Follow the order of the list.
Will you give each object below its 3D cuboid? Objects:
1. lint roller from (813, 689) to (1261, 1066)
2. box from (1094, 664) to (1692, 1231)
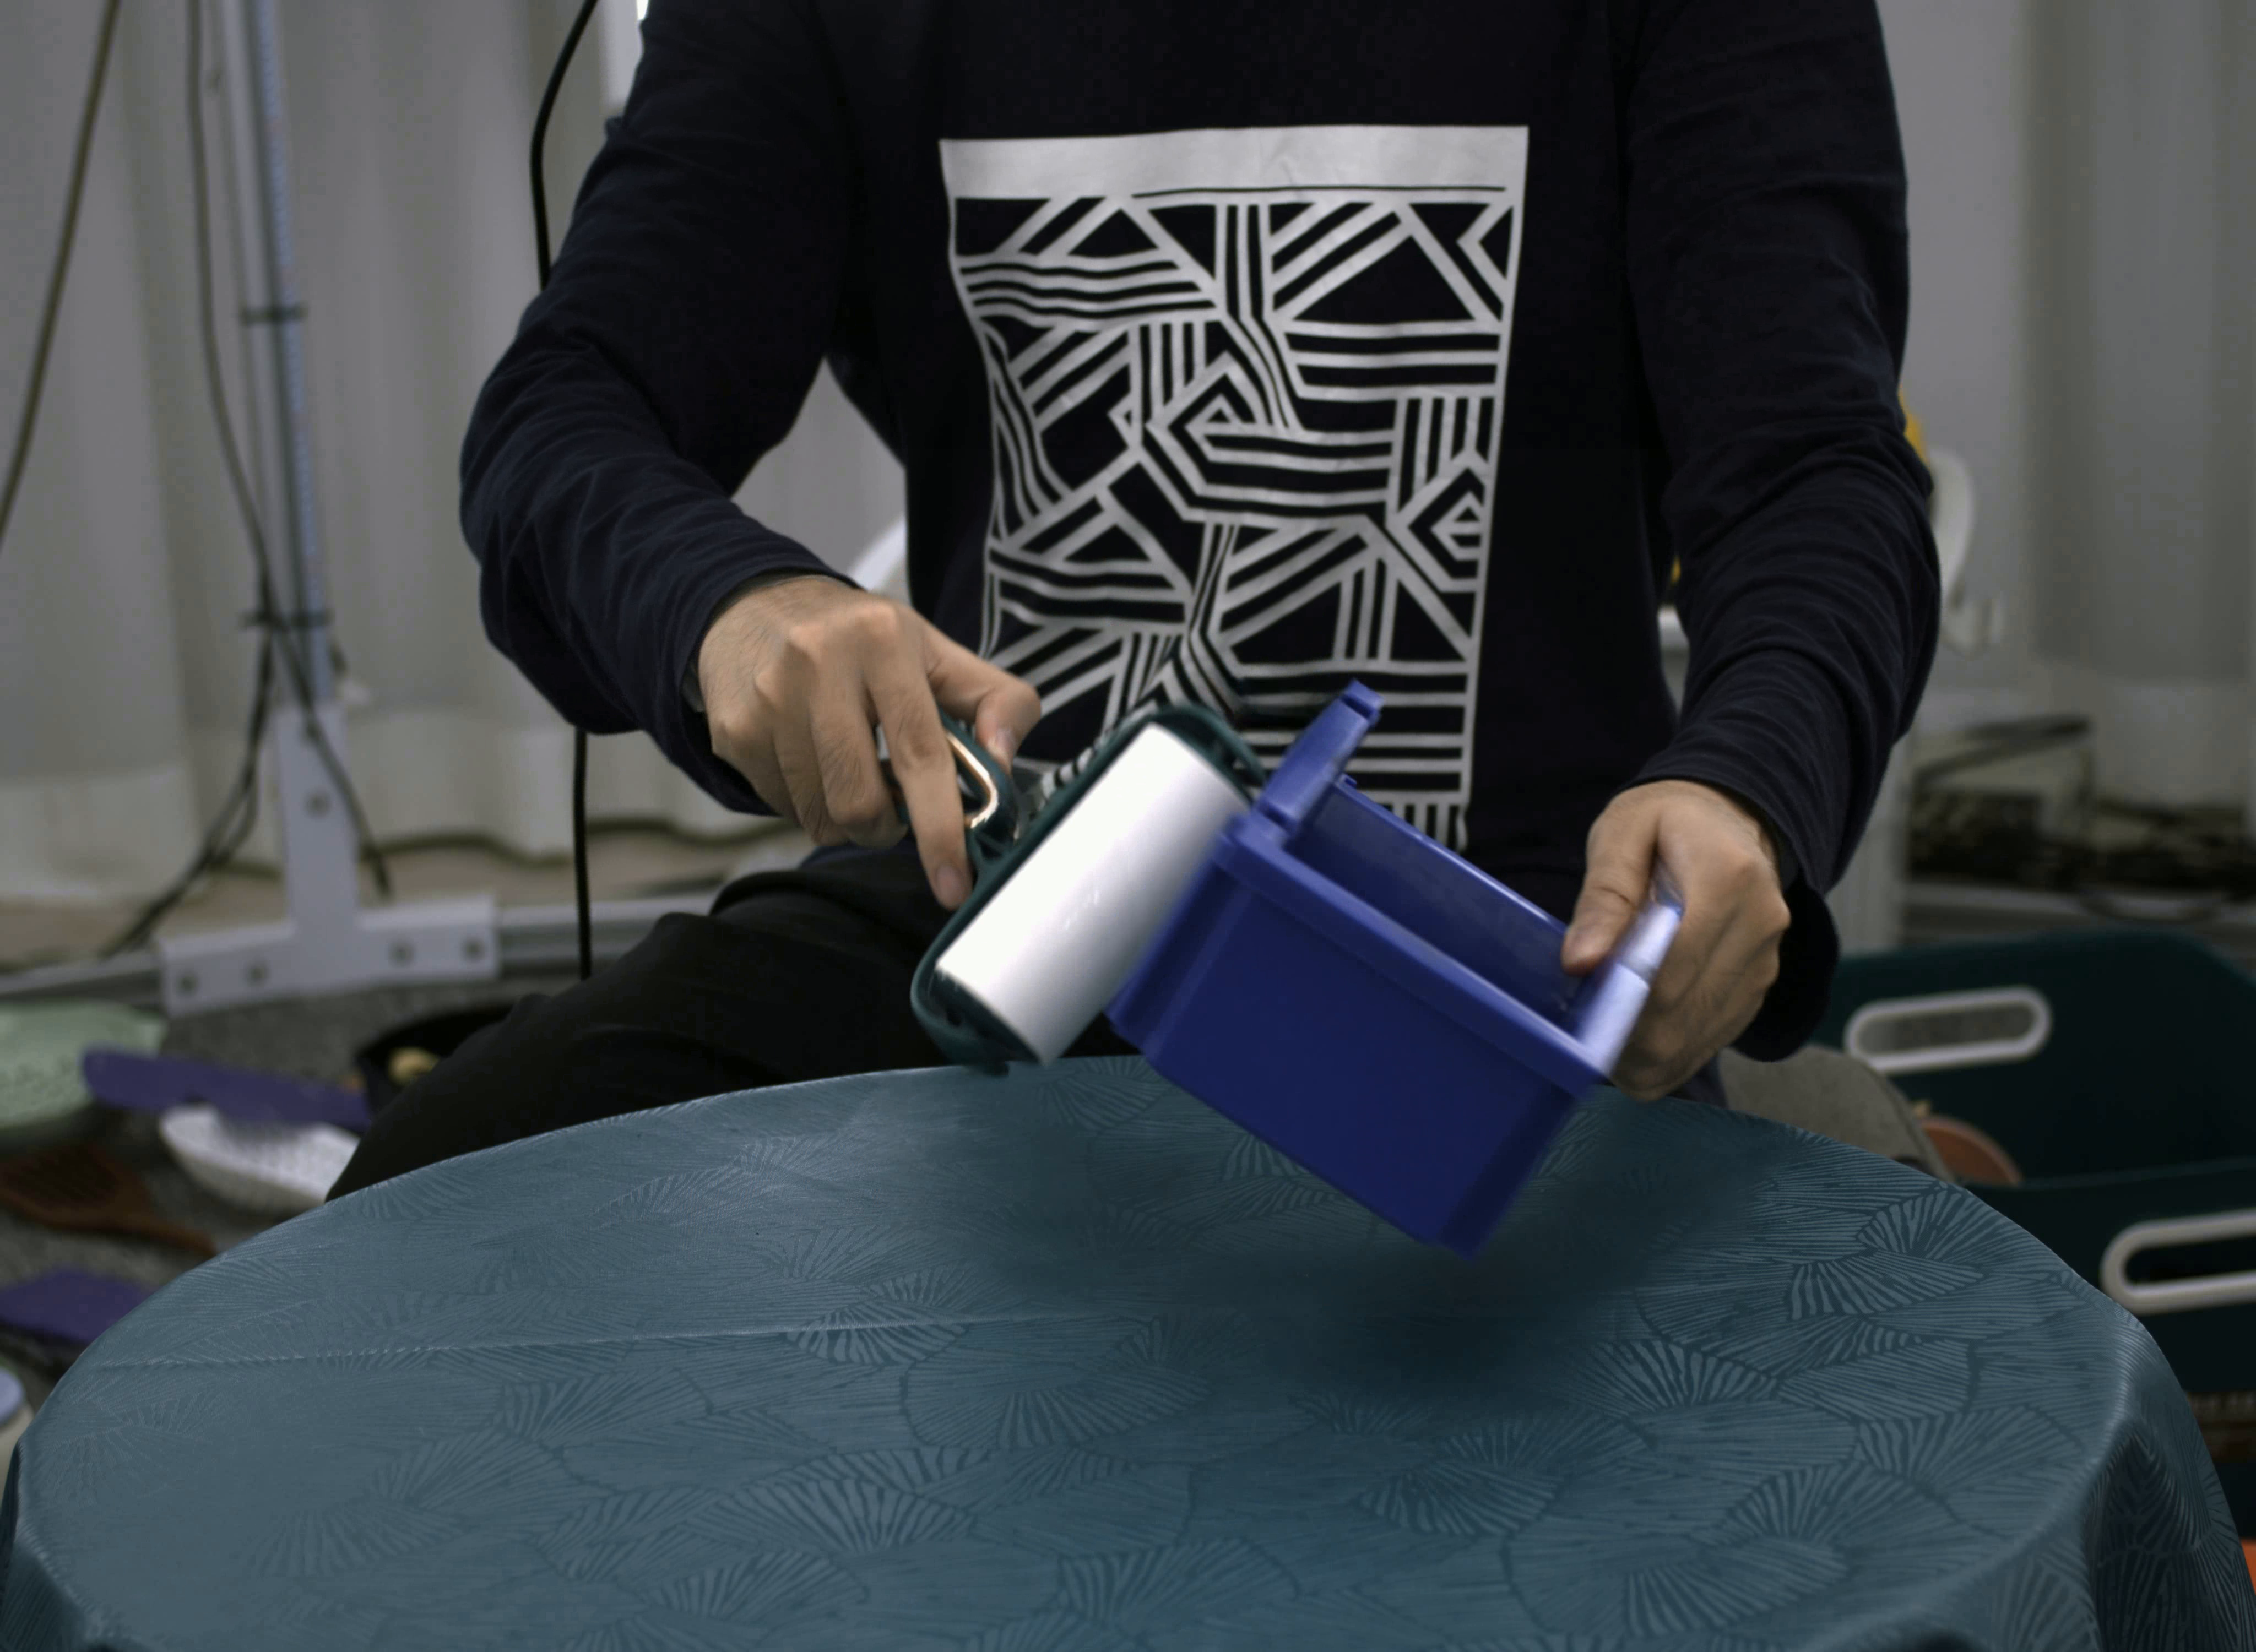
[{"bbox_3d":[-0.051,-0.011,1.705,0.134,0.047,0.182,-49,47,-9],"label":"lint roller"},{"bbox_3d":[0.080,0.030,1.585,0.124,0.081,0.180,33,25,7],"label":"box"}]
